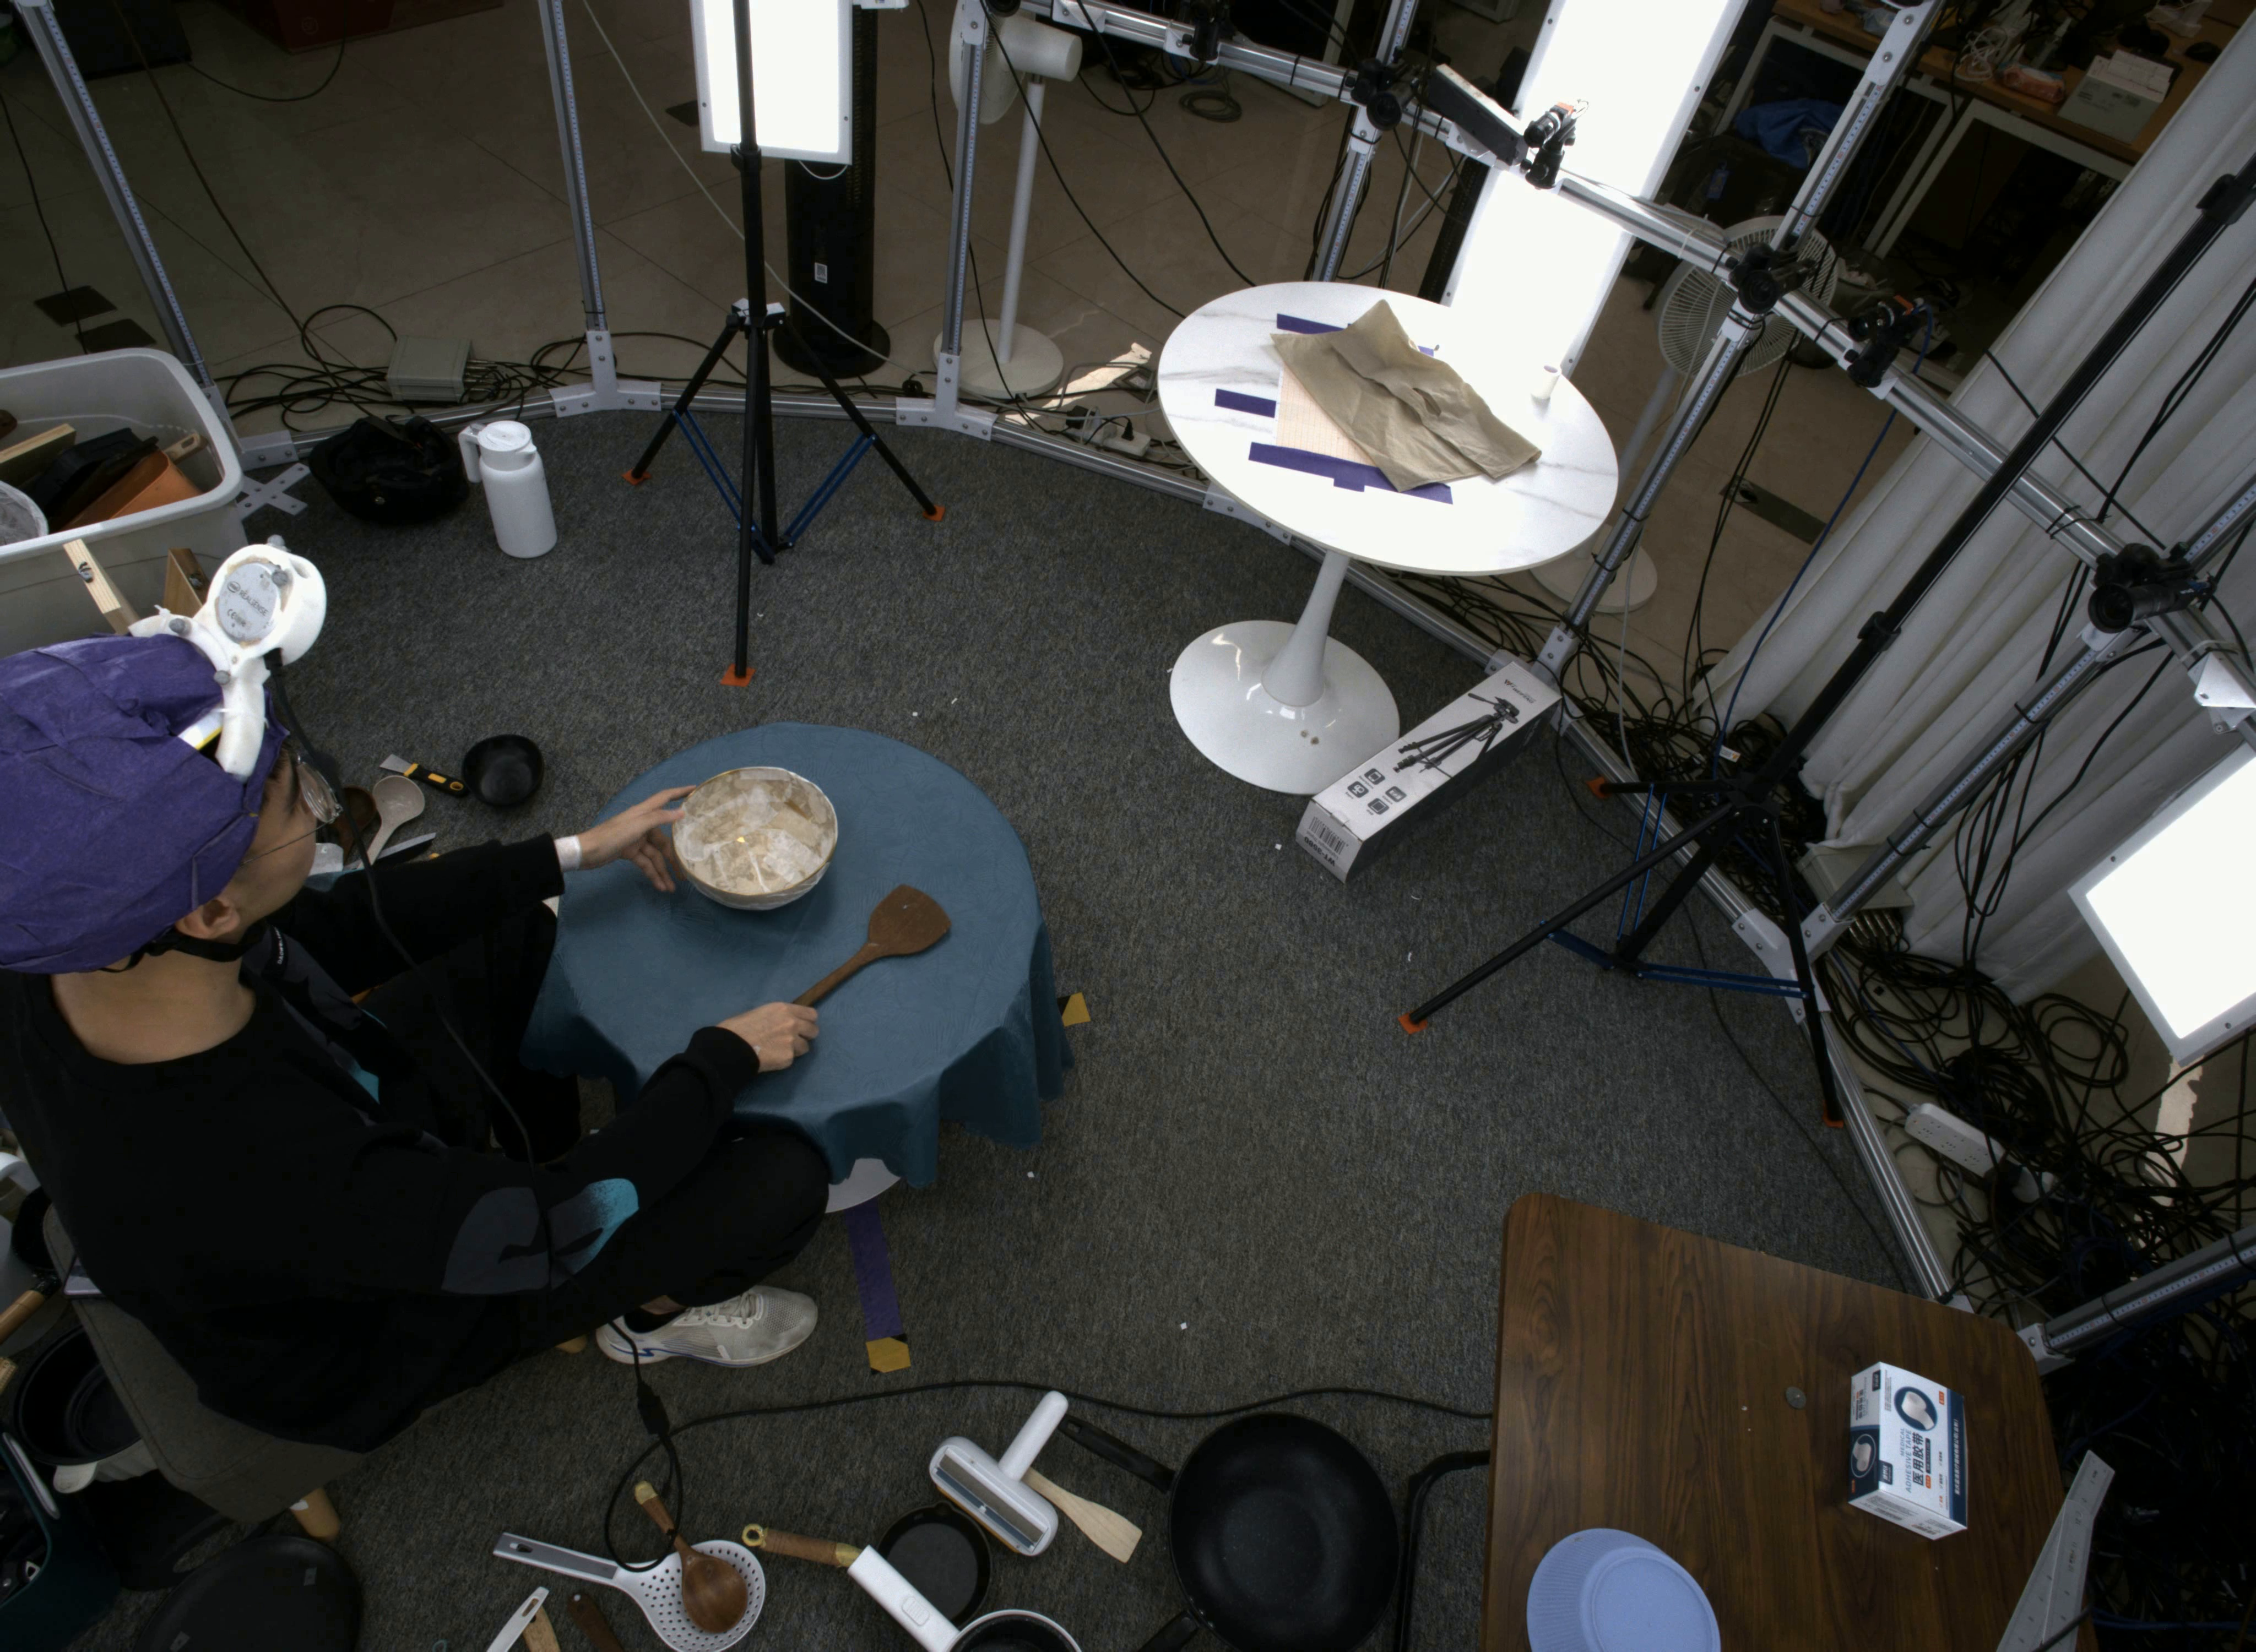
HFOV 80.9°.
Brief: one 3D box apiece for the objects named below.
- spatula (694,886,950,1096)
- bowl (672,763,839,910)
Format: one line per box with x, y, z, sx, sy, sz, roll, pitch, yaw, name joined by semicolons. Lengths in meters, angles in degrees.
-0.373;0.198;1.582;0.094;0.016;0.386;38;53;16;spatula
-0.472;0.028;1.636;0.214;0.096;0.211;8;54;-9;bowl
